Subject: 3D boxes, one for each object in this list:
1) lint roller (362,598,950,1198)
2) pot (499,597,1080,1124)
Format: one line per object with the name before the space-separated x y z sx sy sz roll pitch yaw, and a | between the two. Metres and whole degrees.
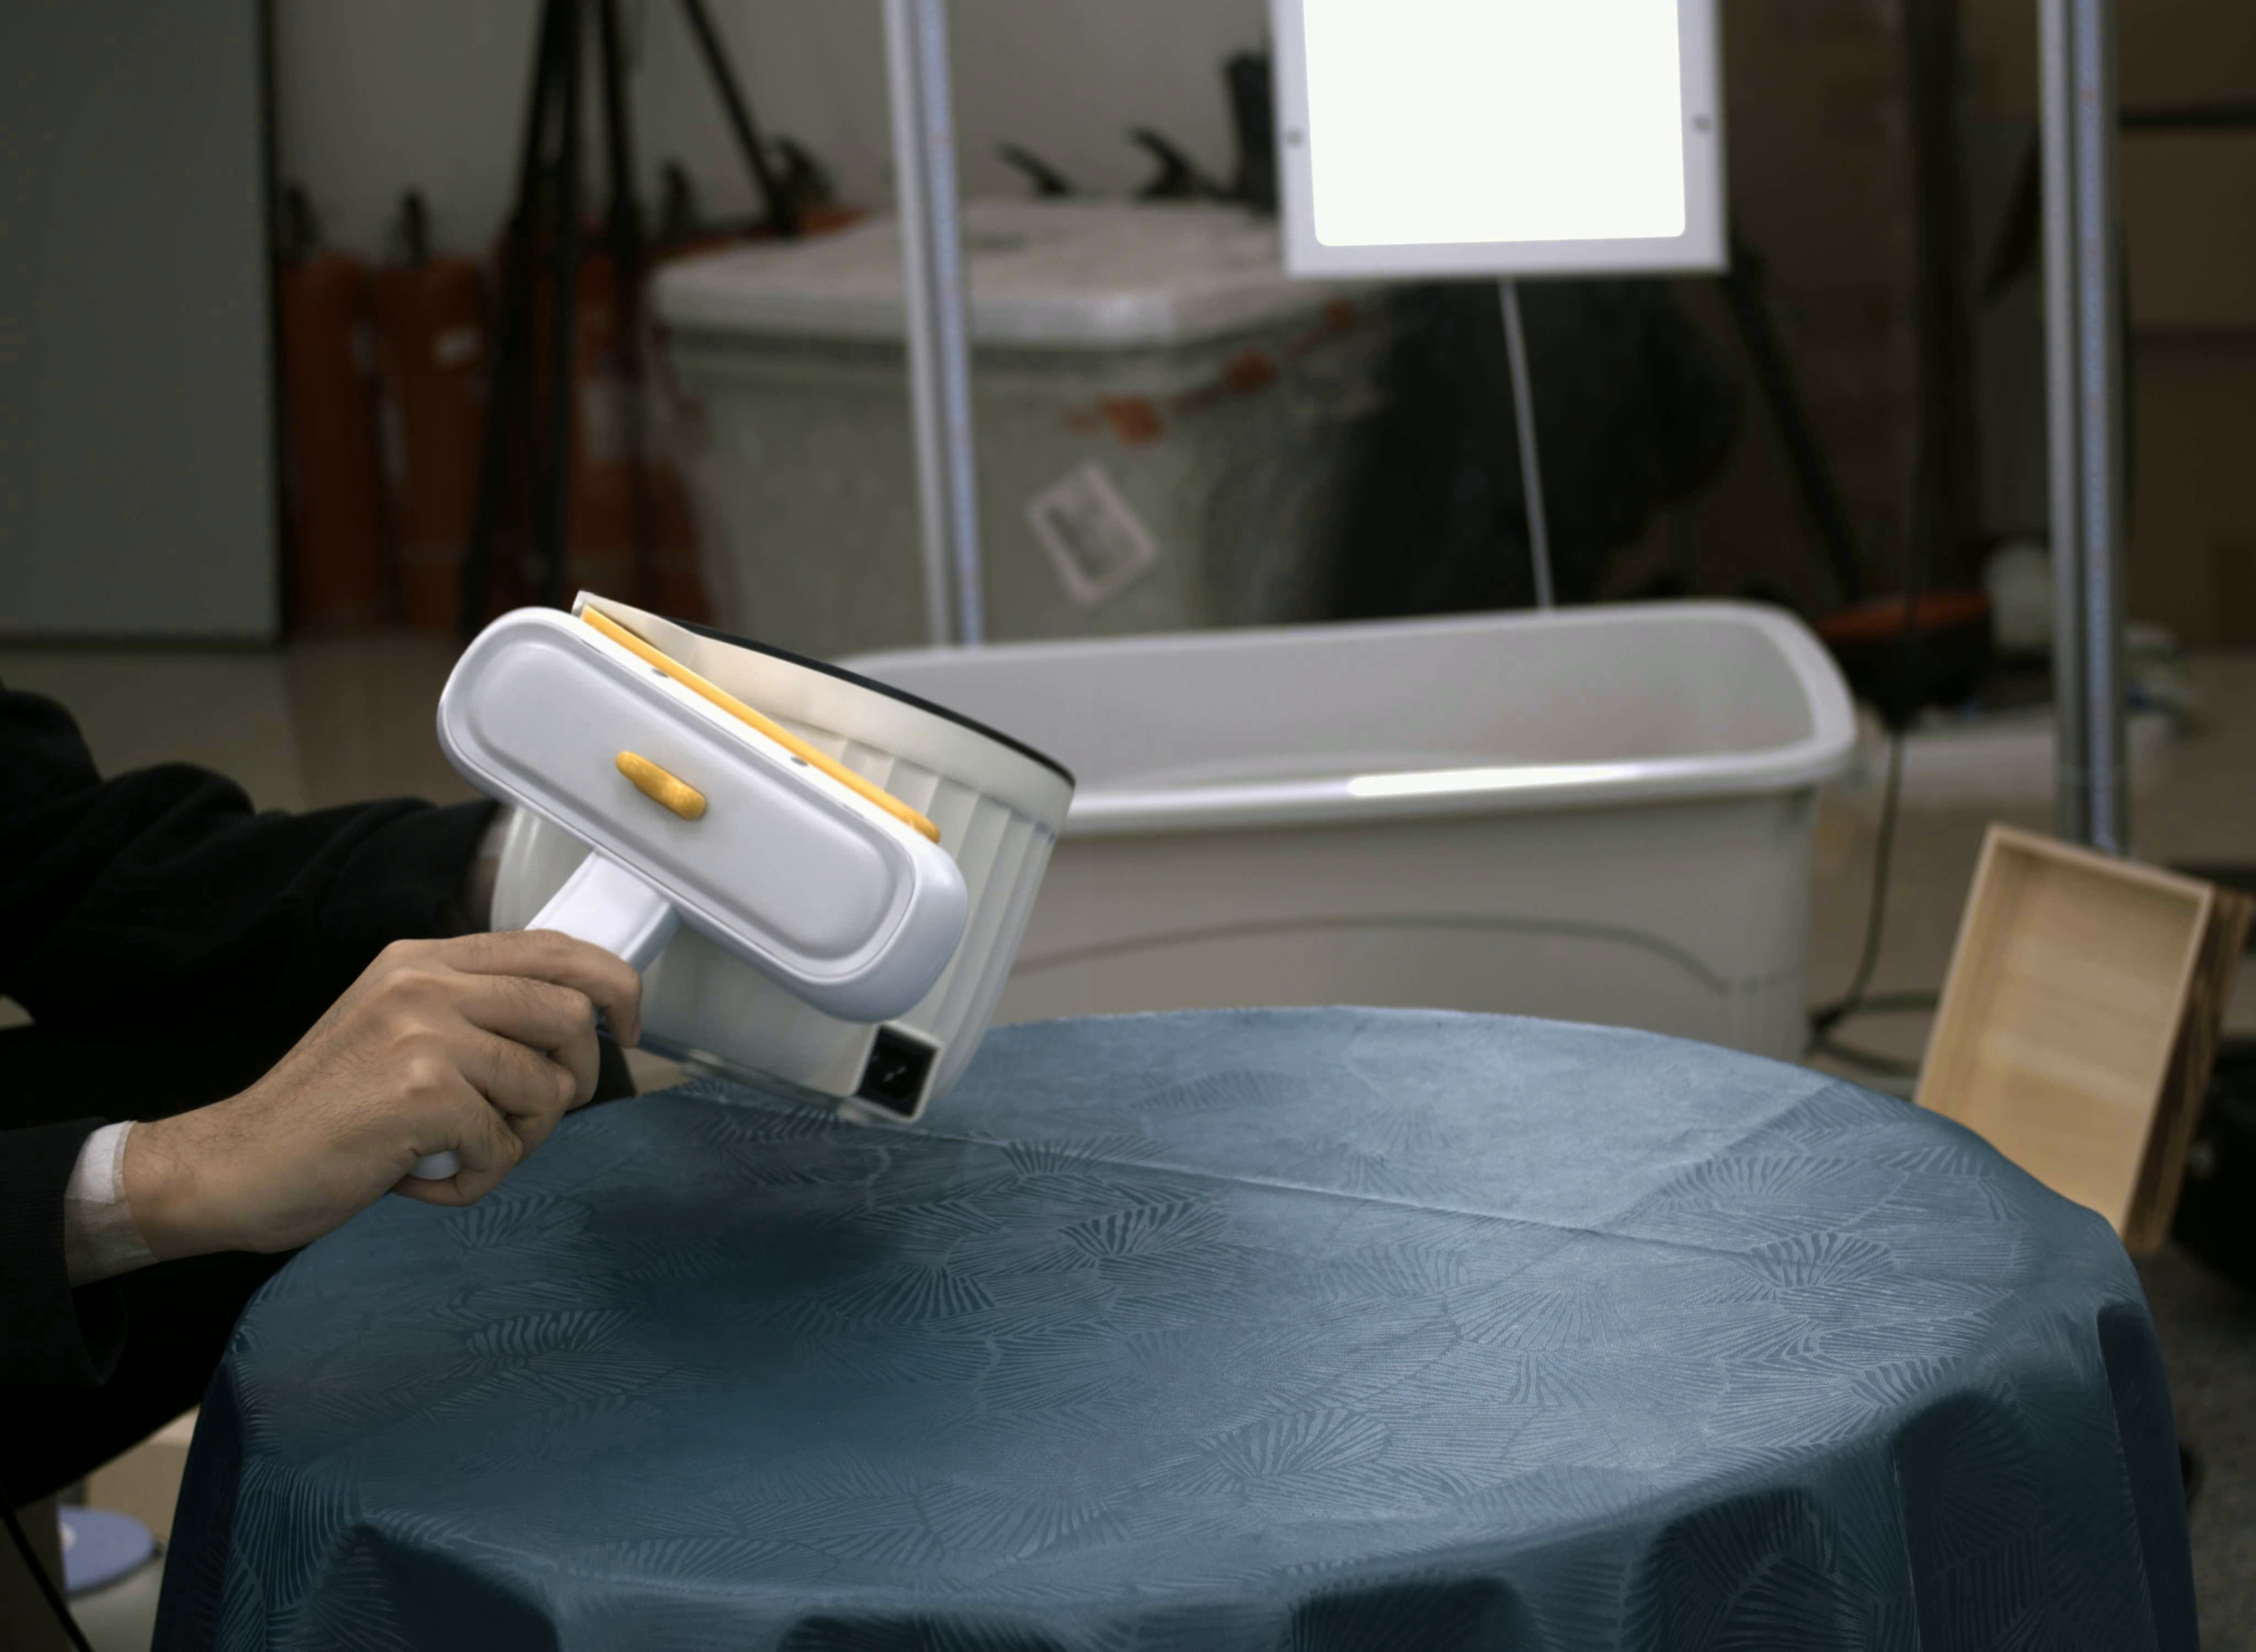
lint roller | -0.177 0.039 1.762 0.194 0.191 0.074 30 -13 14
pot | -0.127 0.017 1.894 0.194 0.142 0.235 15 -8 42
